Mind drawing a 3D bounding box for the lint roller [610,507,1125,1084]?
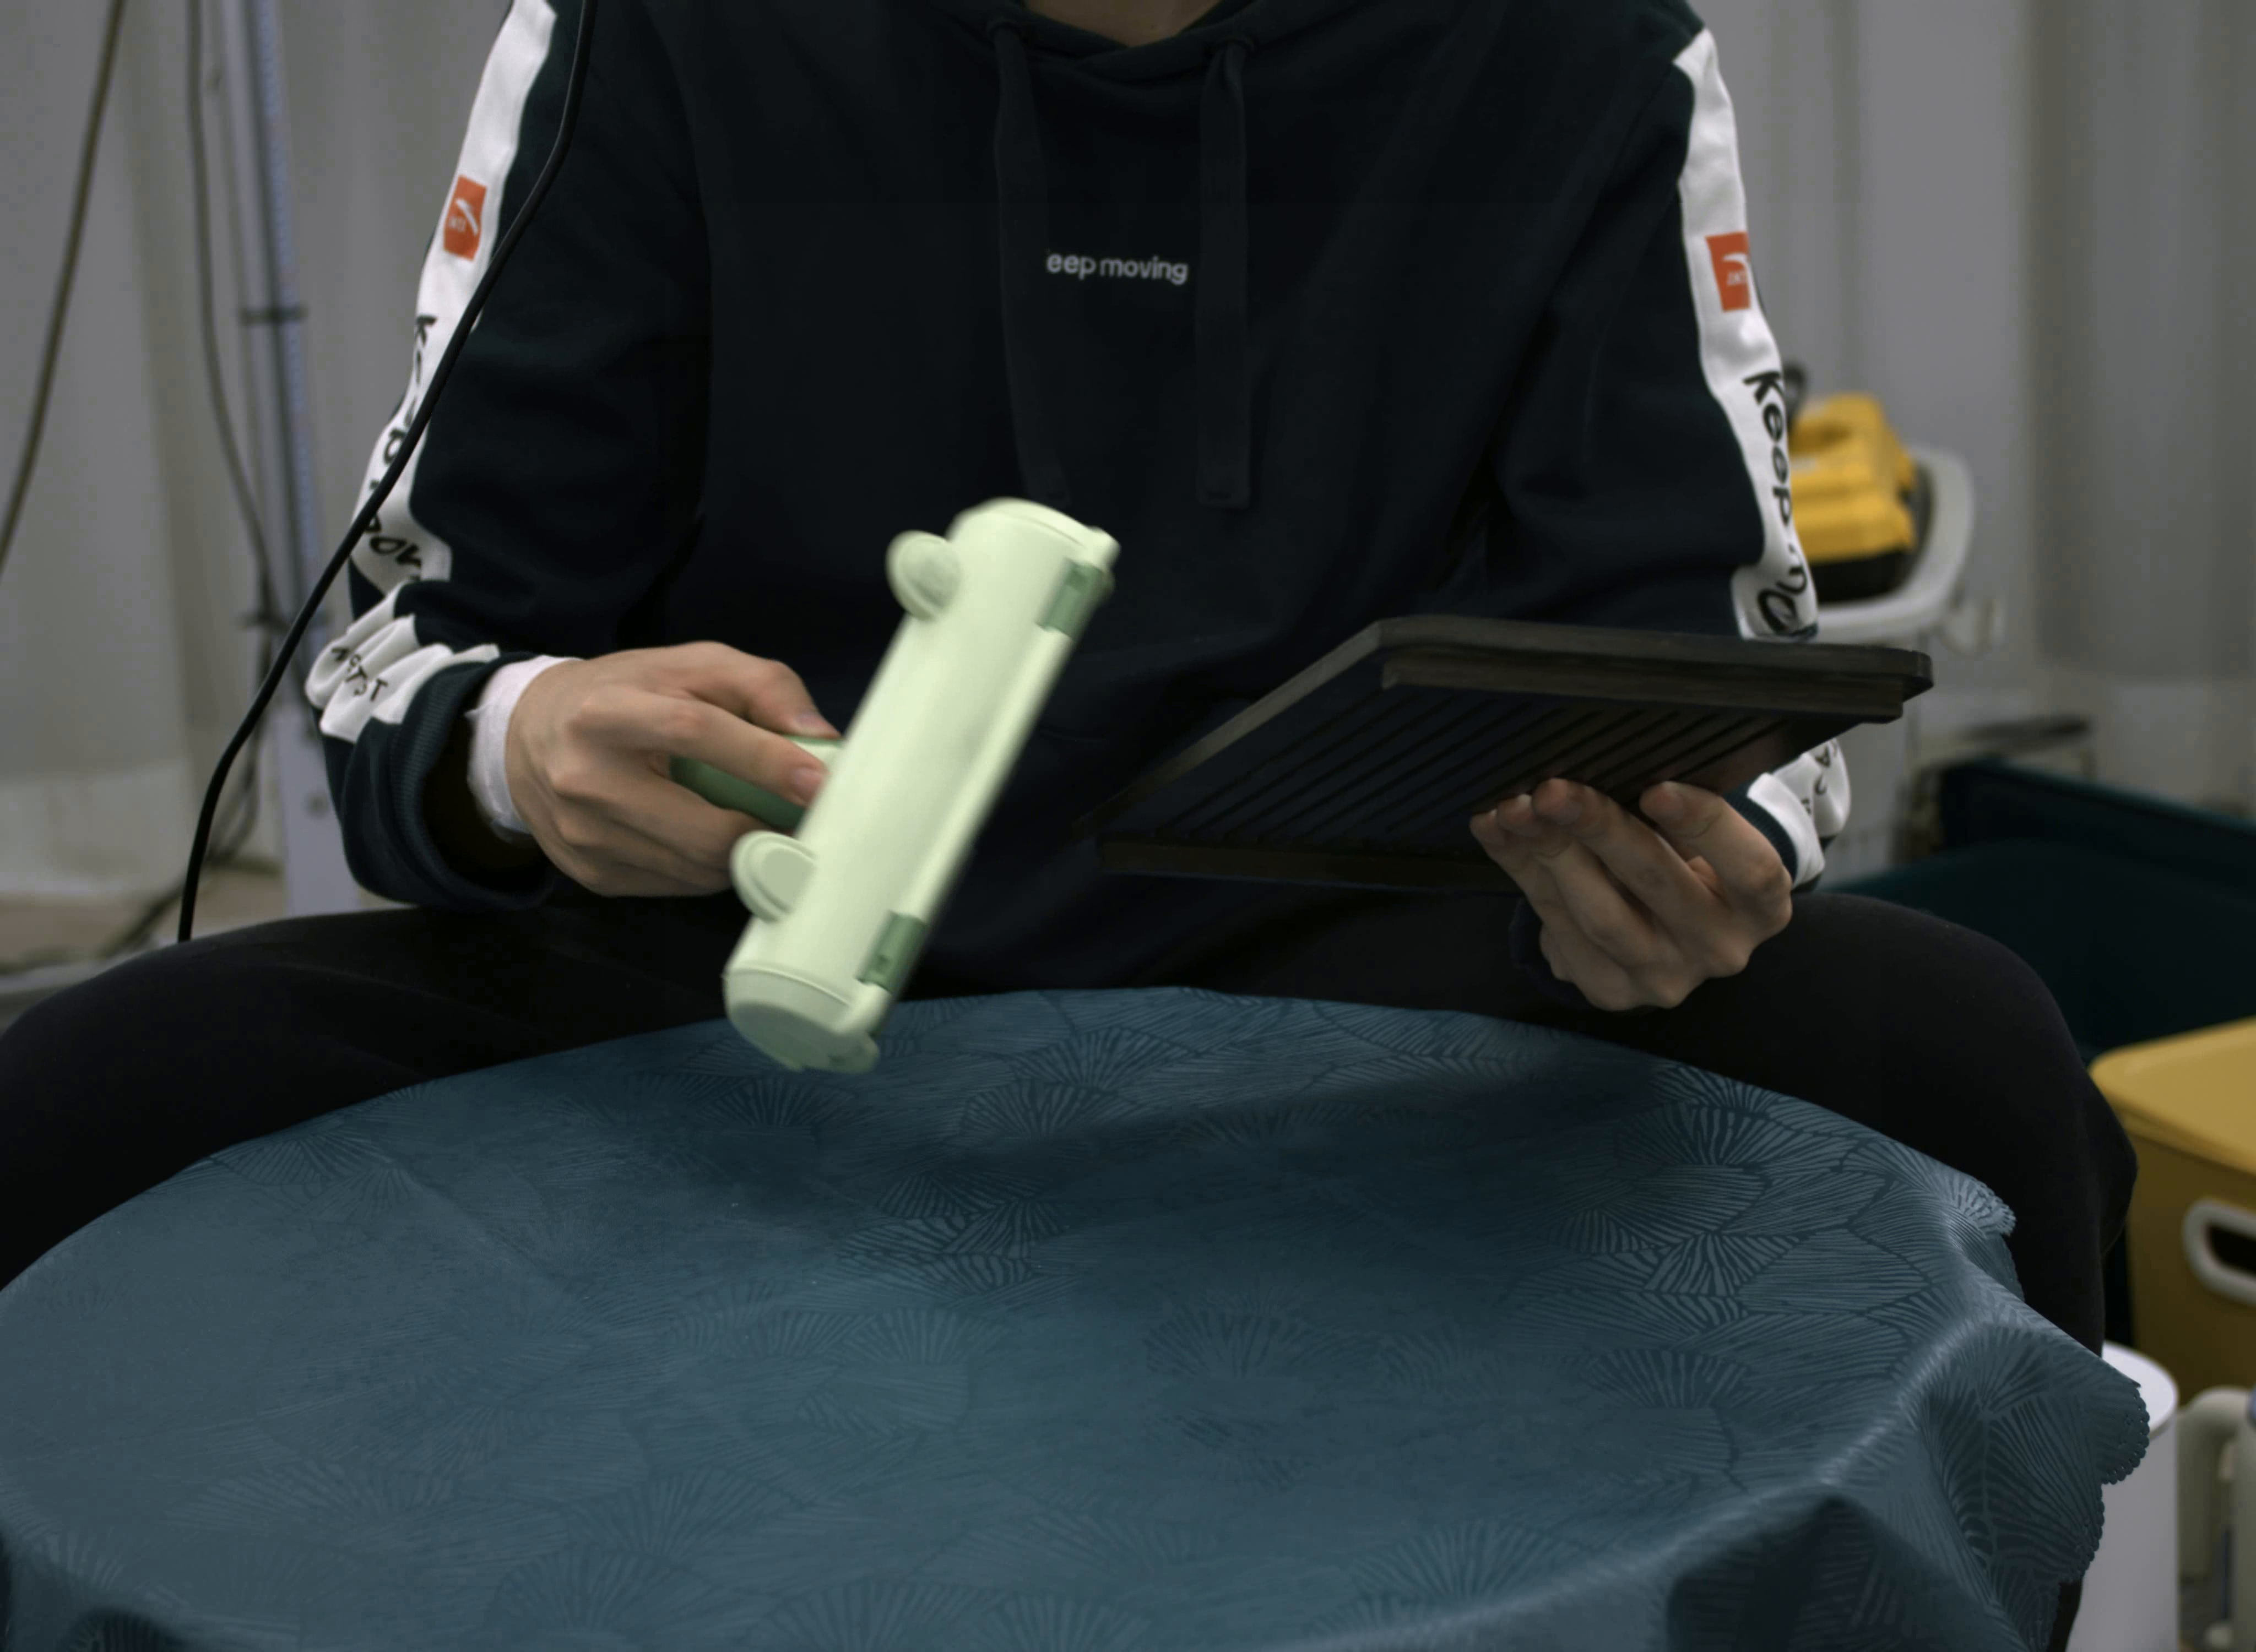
[{"bbox_3d":[-0.110,-0.021,1.762,0.184,0.081,0.200,8,59,35],"label":"lint roller"}]

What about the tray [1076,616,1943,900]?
[{"bbox_3d":[0.107,-0.016,1.656,0.169,0.019,0.305,4,-13,-17],"label":"tray"}]
